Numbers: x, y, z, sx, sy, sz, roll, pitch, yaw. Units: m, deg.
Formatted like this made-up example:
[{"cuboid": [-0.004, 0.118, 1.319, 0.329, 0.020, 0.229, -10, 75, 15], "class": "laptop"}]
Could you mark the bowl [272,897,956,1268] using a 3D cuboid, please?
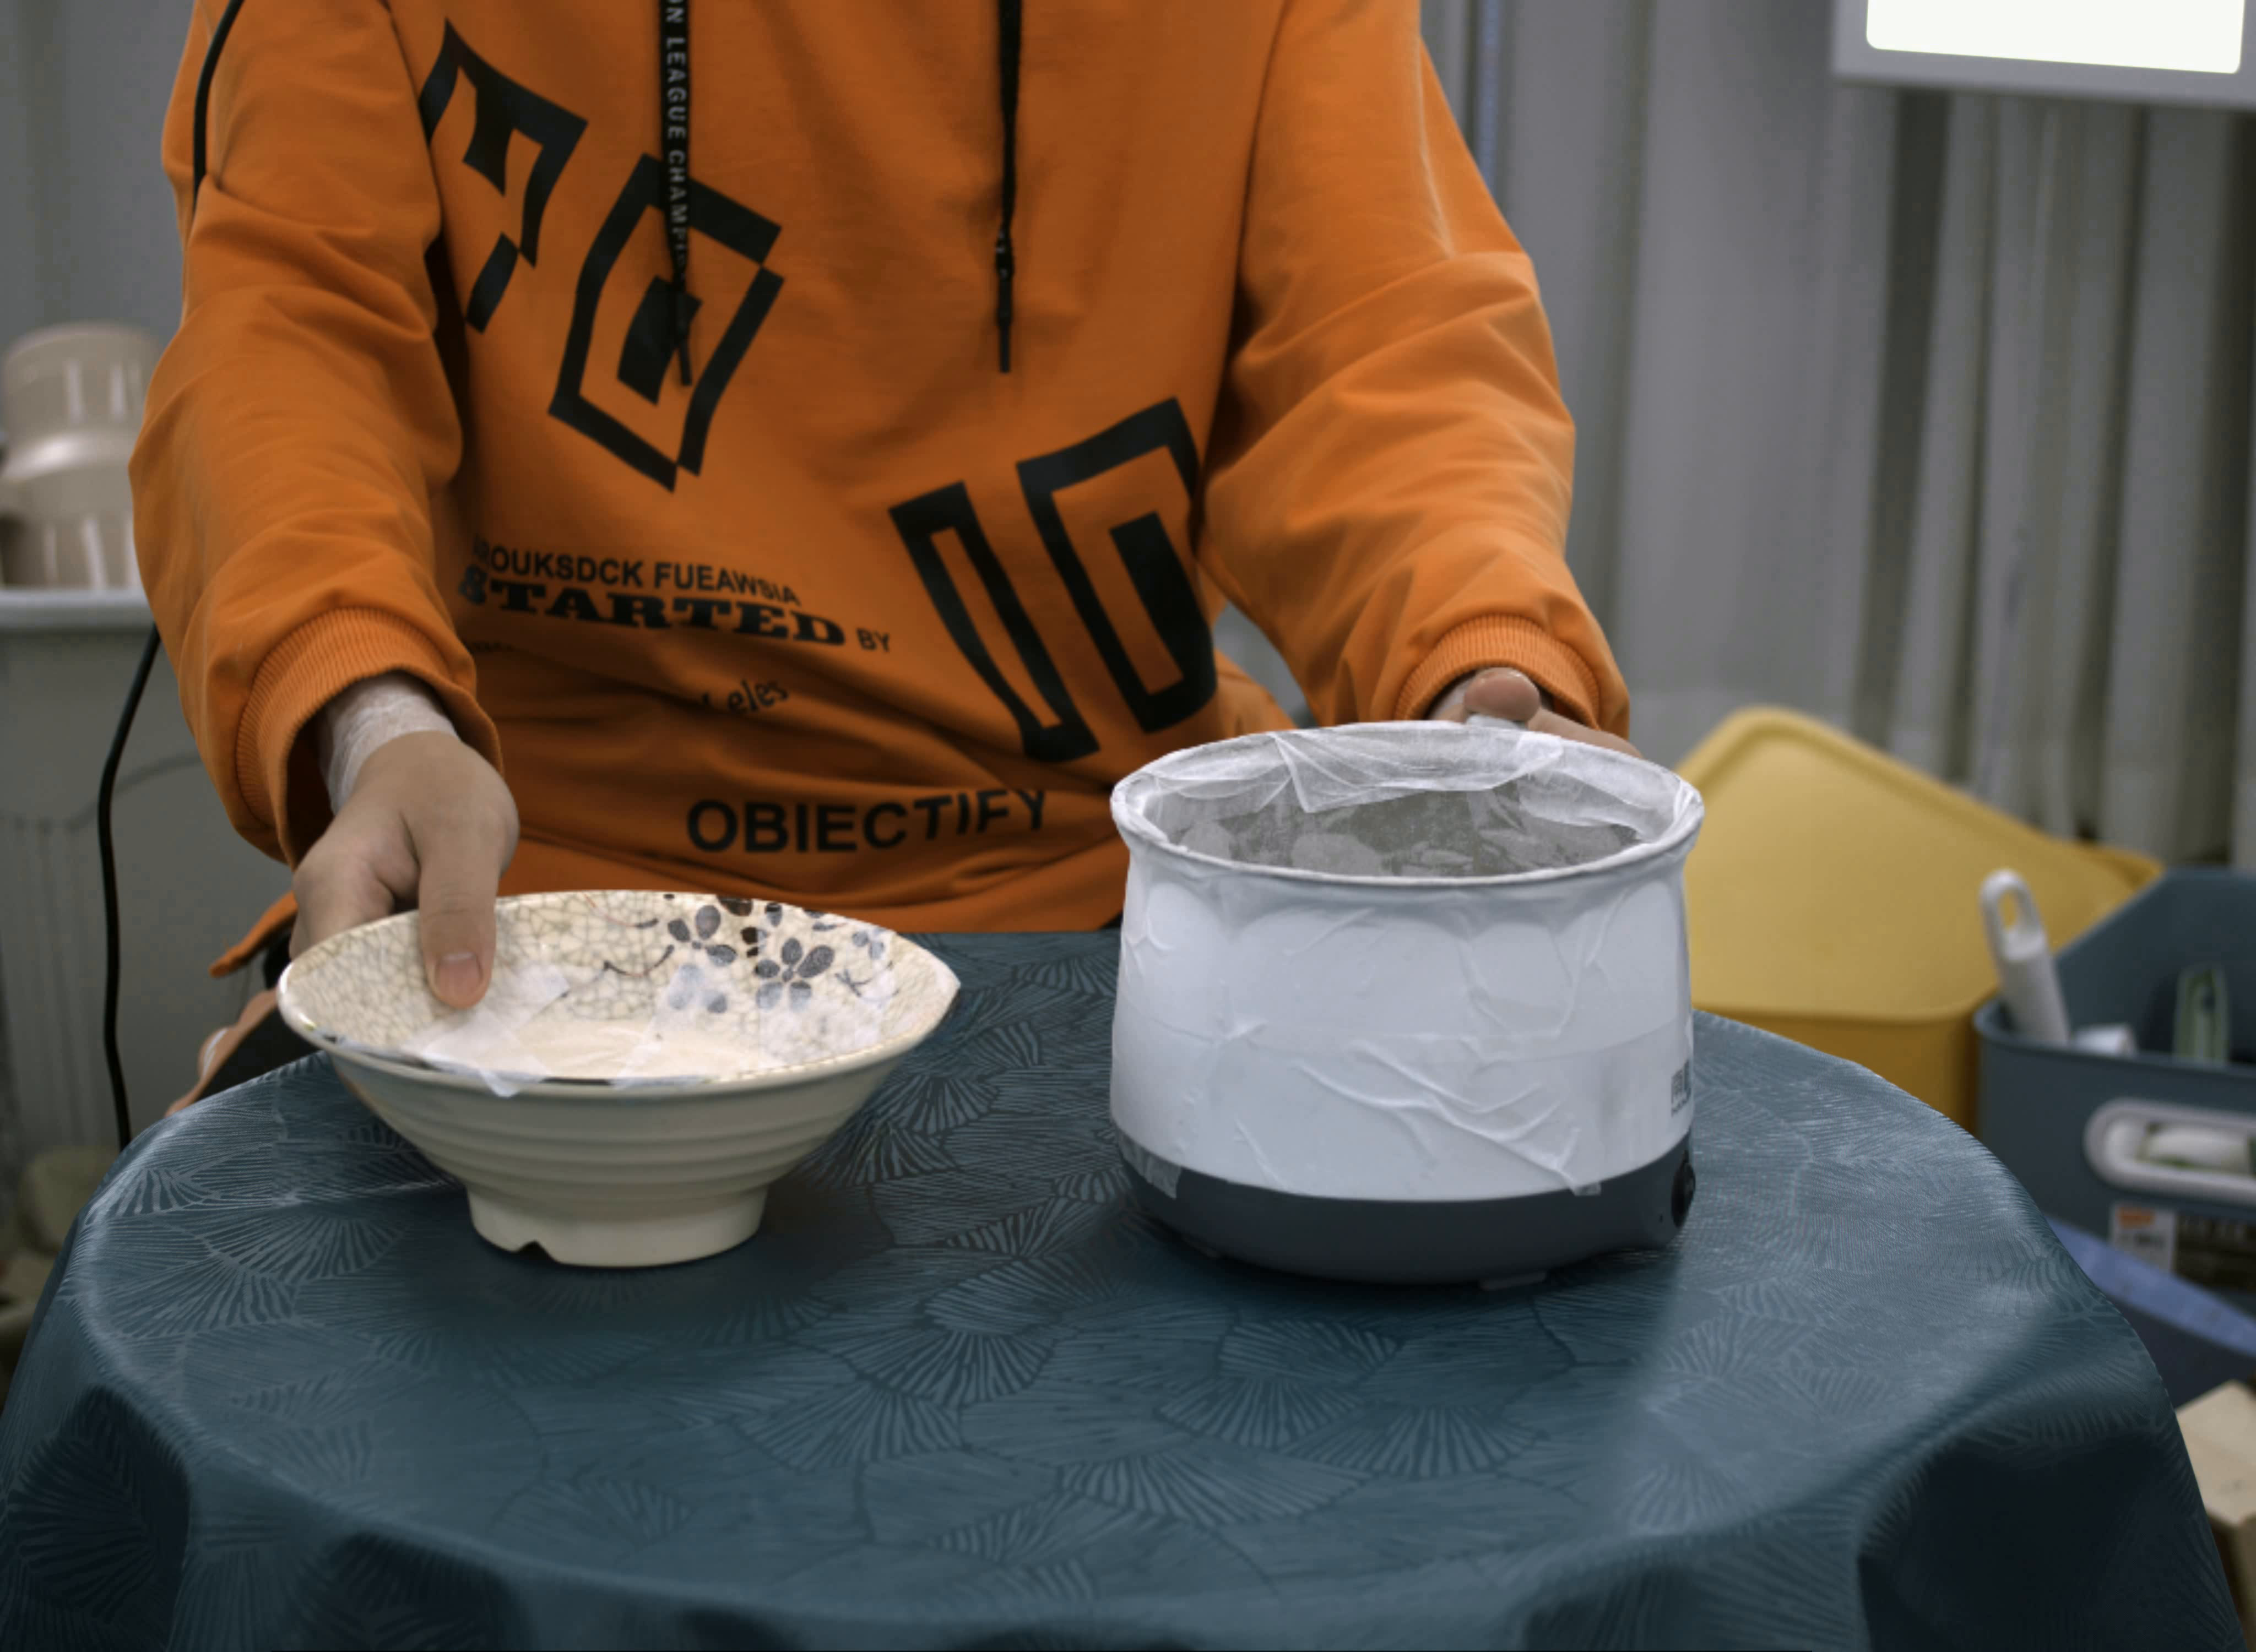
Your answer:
[{"cuboid": [-0.153, 0.082, 1.577, 0.203, 0.078, 0.203, 2, 13, 0], "class": "bowl"}]

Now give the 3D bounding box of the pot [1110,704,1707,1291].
[{"cuboid": [0.091, 0.045, 1.608, 0.177, 0.138, 0.233, 5, 17, 16], "class": "pot"}]
